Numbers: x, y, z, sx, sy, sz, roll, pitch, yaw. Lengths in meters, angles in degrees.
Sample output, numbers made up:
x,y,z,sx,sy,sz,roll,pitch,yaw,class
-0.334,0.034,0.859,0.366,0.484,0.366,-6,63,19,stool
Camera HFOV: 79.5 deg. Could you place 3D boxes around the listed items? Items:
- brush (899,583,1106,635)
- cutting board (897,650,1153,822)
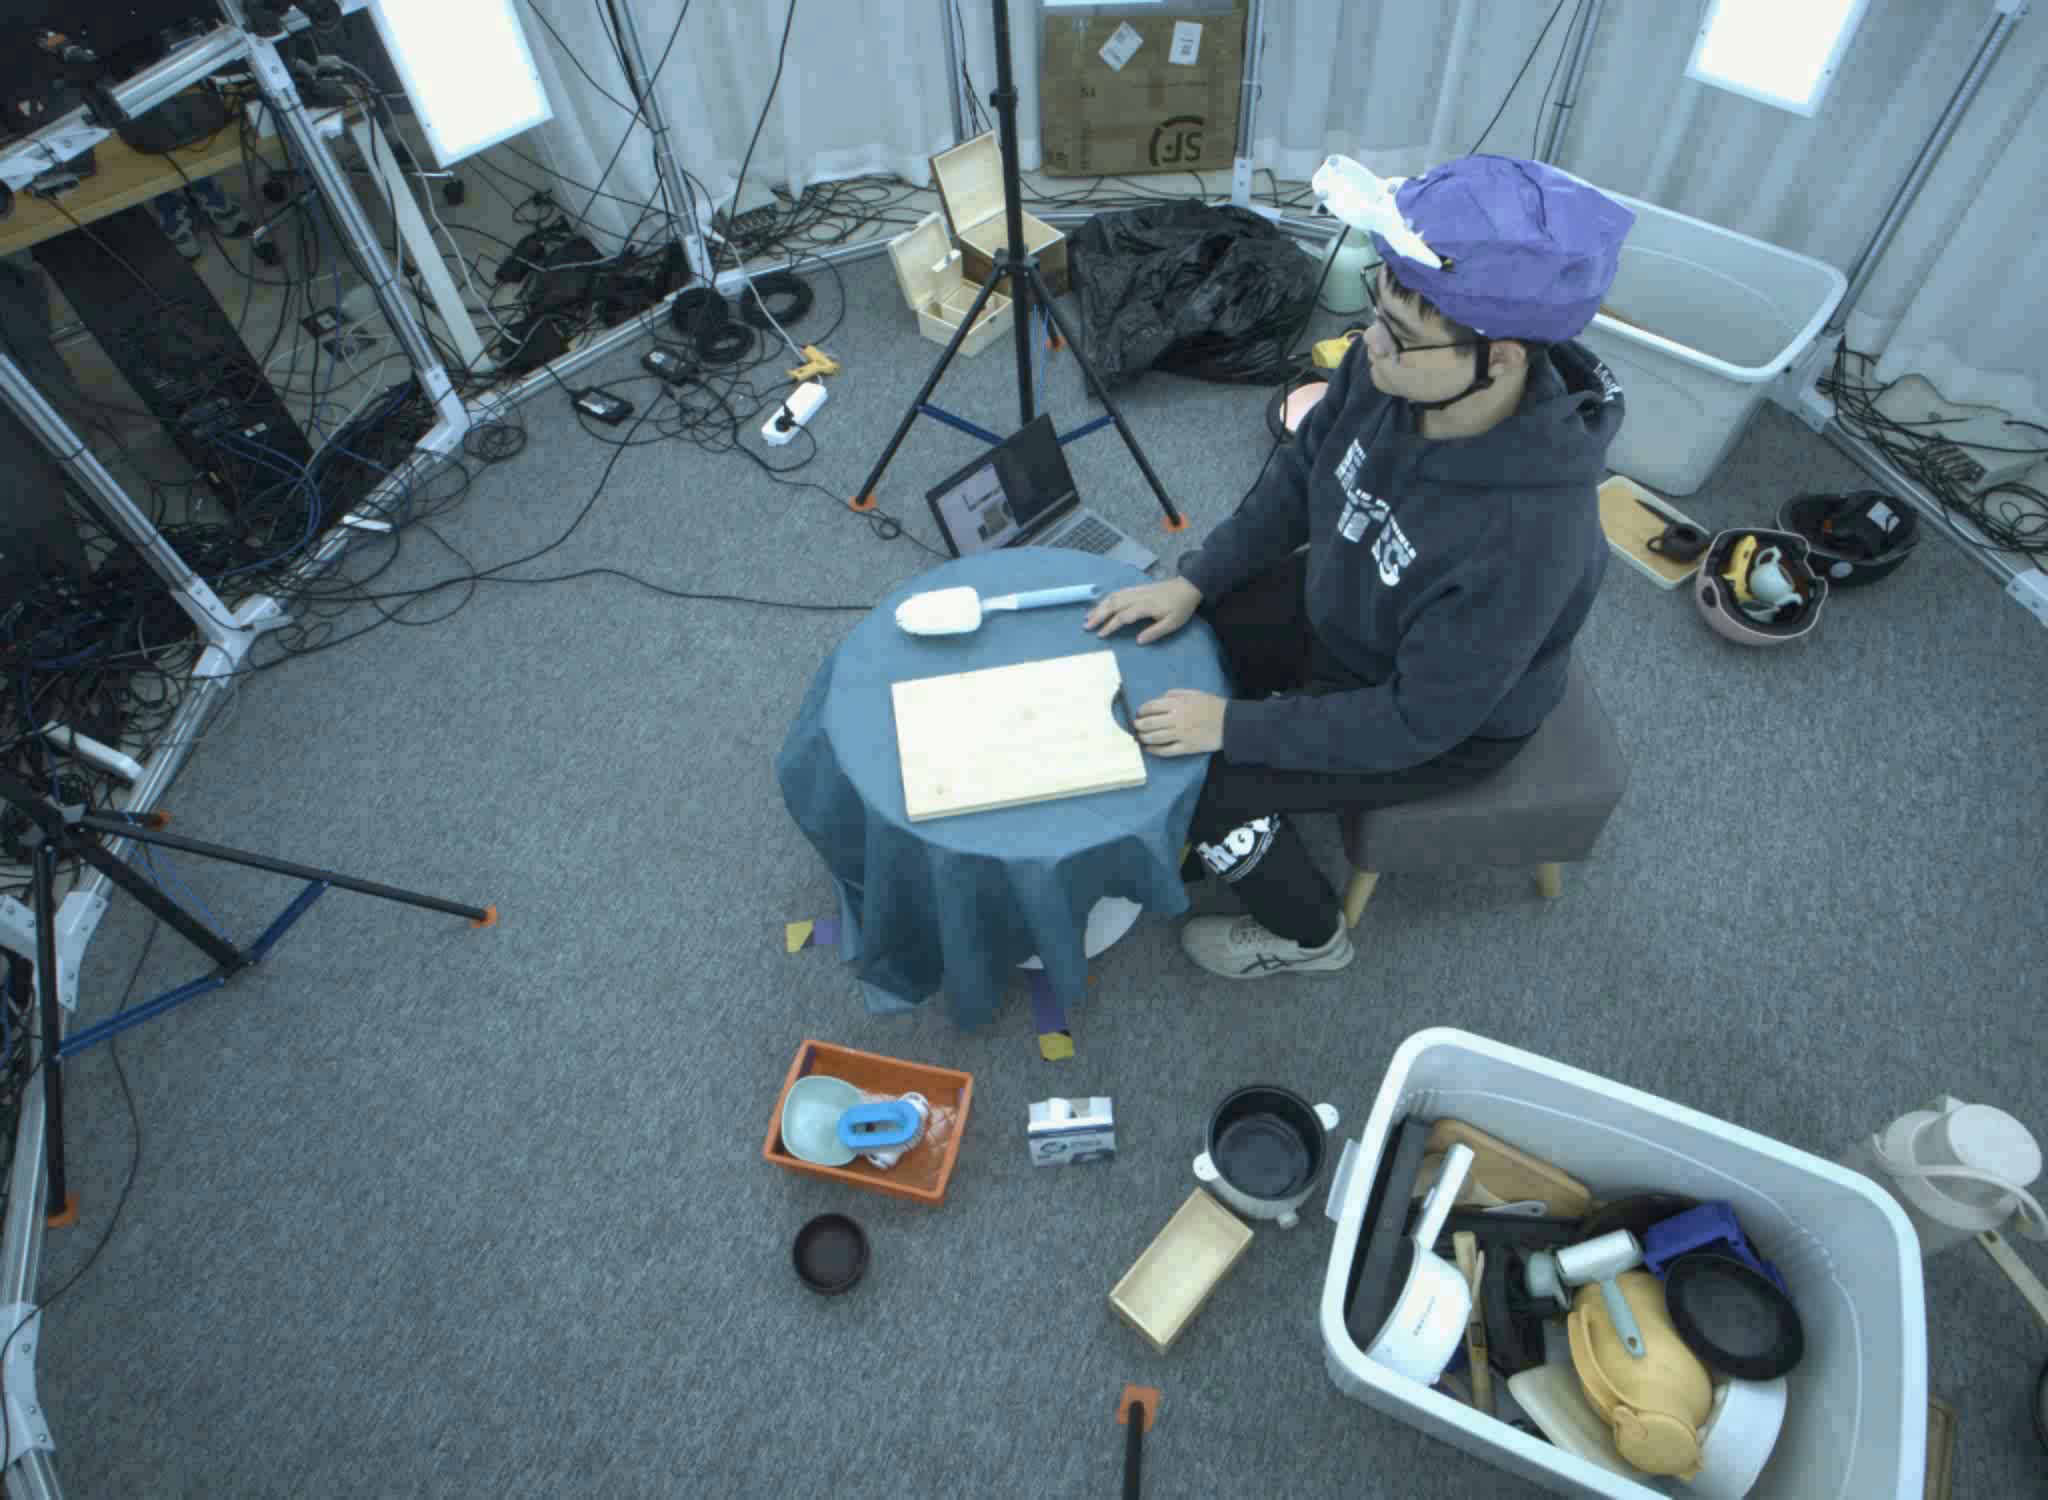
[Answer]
x,y,z,sx,sy,sz,roll,pitch,yaw,class
-0.033,-0.231,1.900,0.326,0.084,0.083,-8,46,-2,brush
-0.008,-0.026,1.796,0.350,0.024,0.247,-9,56,-5,cutting board
